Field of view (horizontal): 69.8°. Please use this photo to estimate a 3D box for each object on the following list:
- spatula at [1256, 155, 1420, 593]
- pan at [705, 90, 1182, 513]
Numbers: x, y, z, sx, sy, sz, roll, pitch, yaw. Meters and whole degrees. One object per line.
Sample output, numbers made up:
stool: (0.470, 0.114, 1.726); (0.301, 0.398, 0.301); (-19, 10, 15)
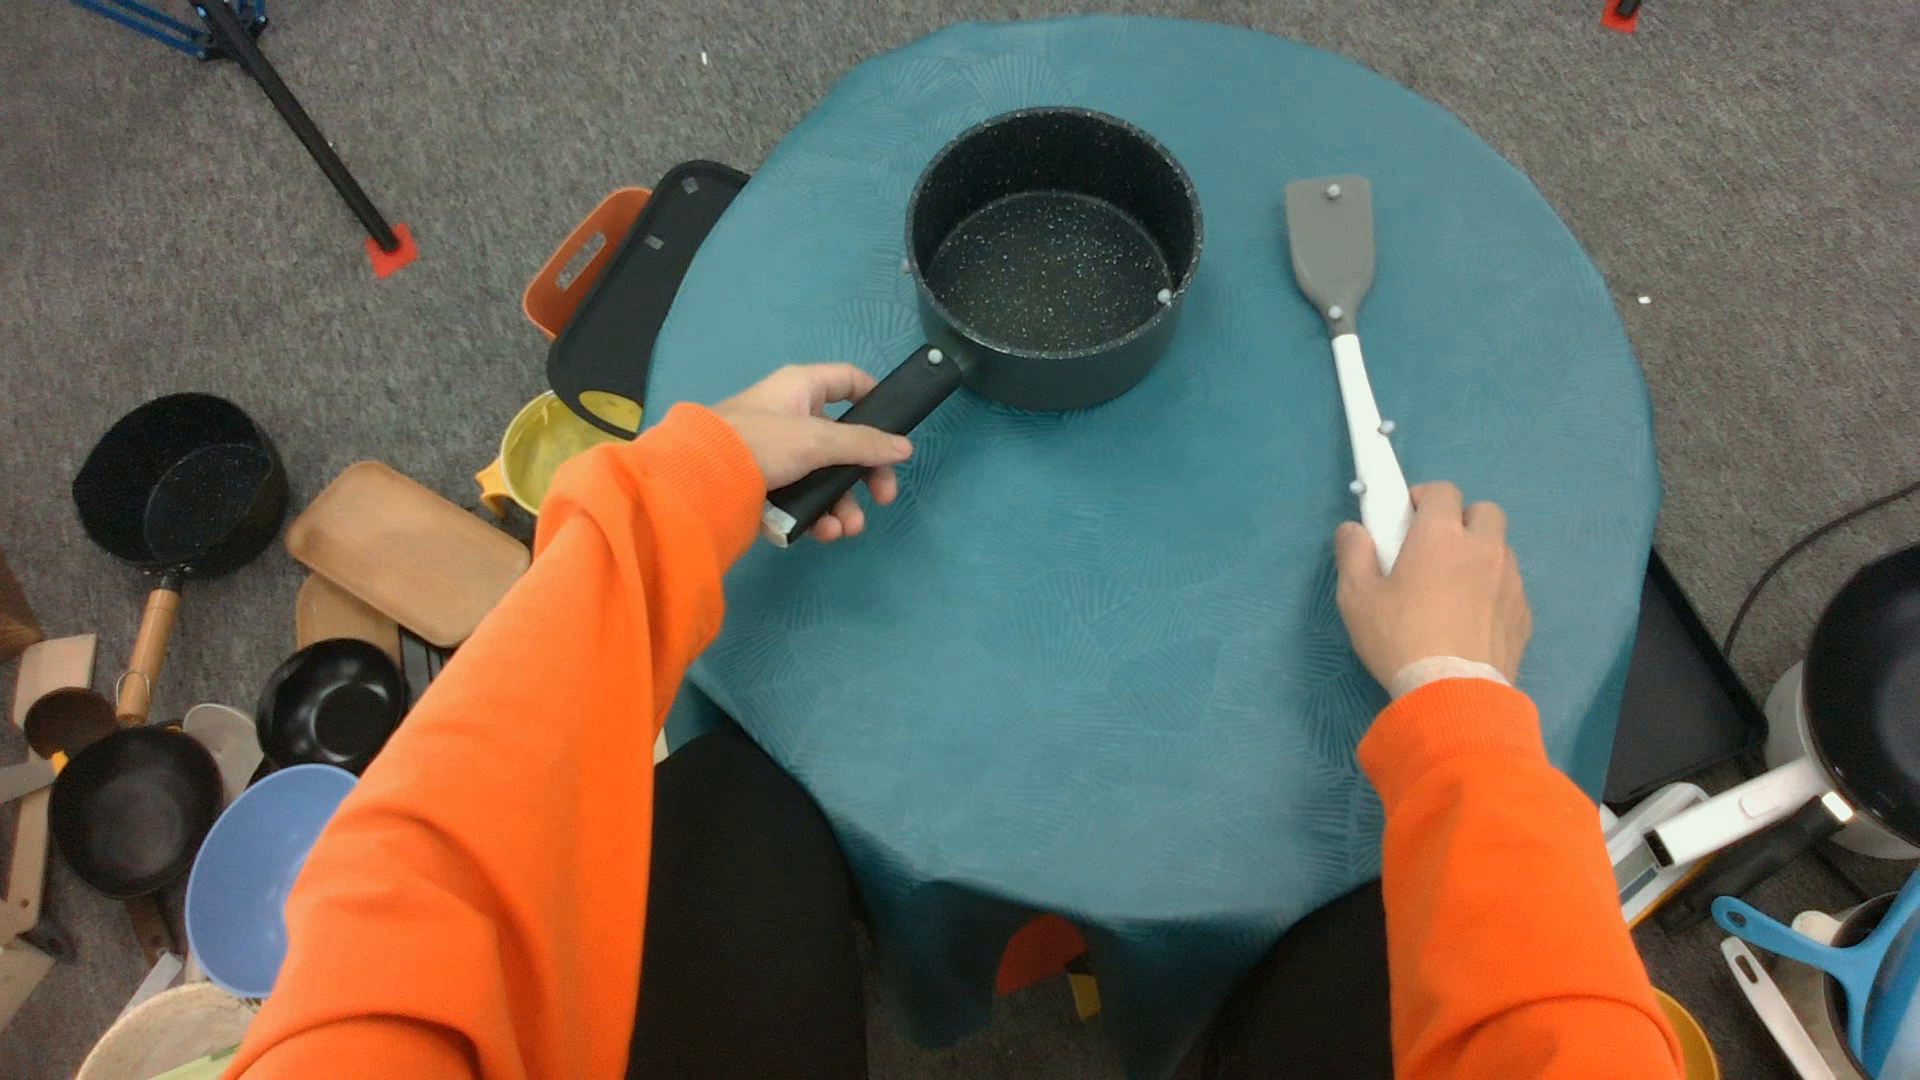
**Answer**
spatula: (0.223, -0.106, 0.811); (0.058, 0.032, 0.288); (-8, 65, 7)
pan: (-0.012, -0.121, 0.793); (0.172, 0.086, 0.330); (39, 71, 16)
